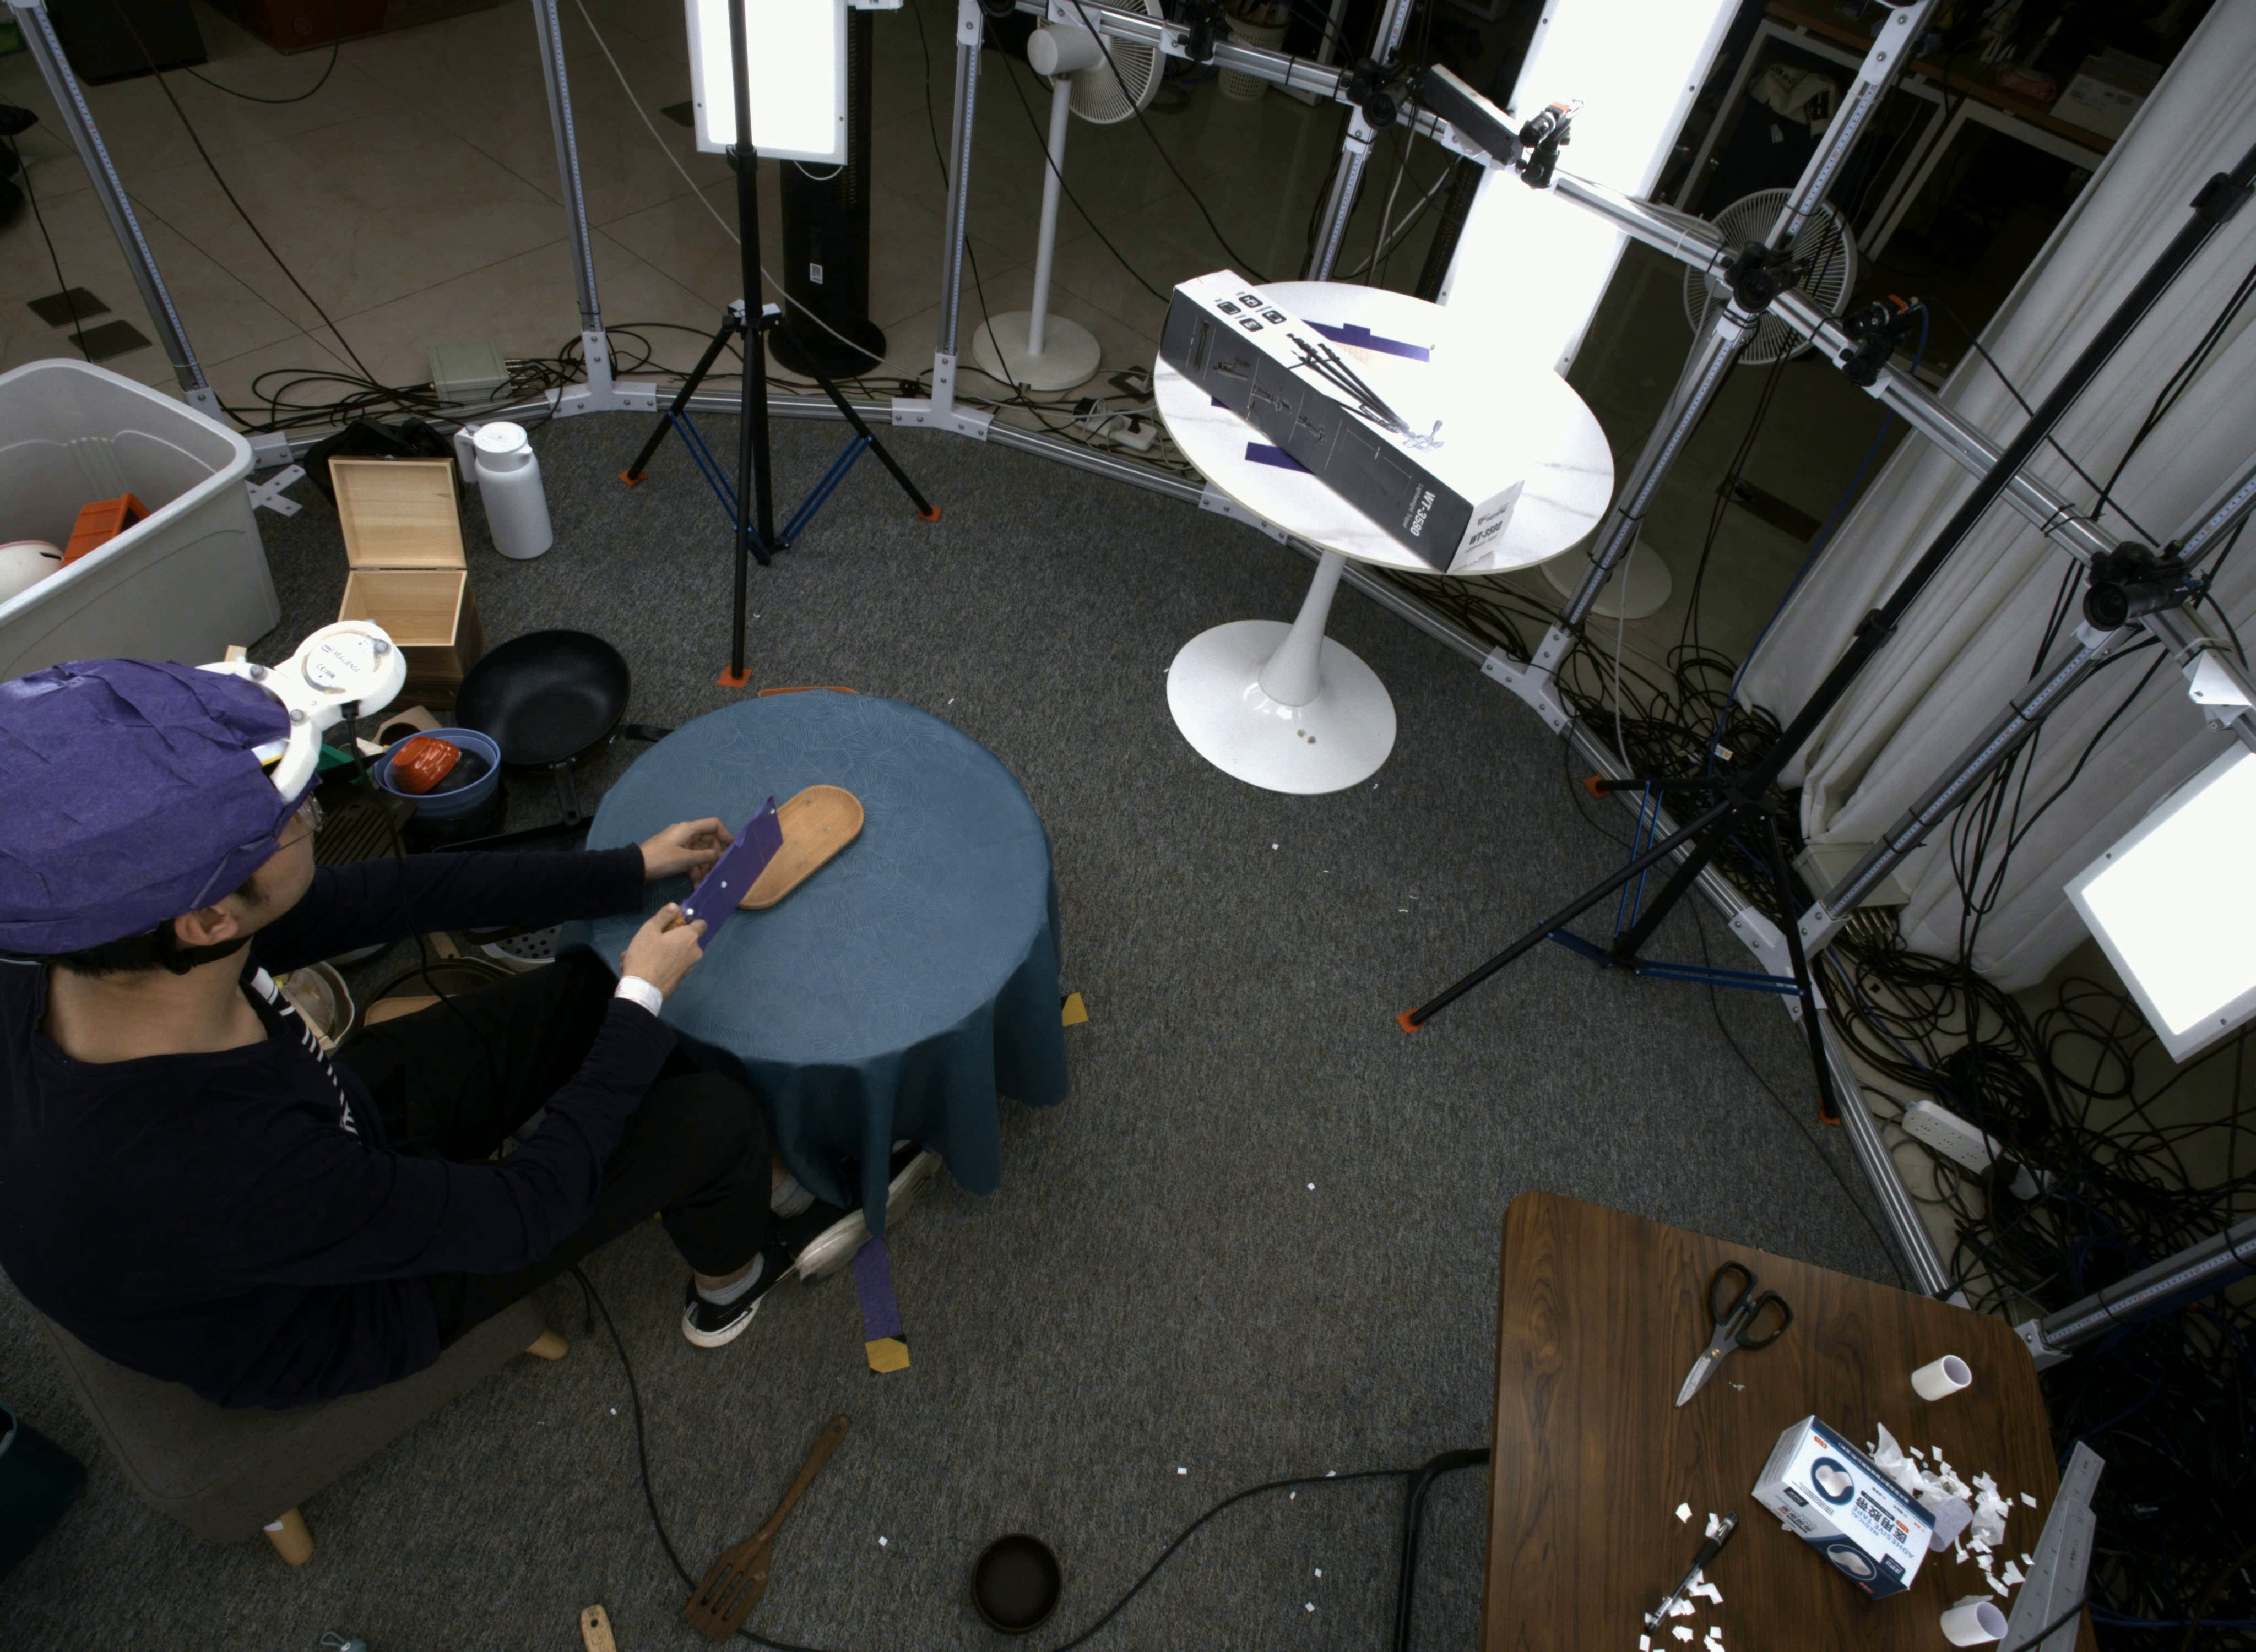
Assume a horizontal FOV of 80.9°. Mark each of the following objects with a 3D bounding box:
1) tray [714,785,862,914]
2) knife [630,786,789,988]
[{"bbox_3d":[-0.443,0.028,1.697,0.100,0.021,0.231,35,55,10],"label":"tray"},{"bbox_3d":[-0.494,0.088,1.562,0.031,0.107,0.313,15,47,15],"label":"knife"}]
